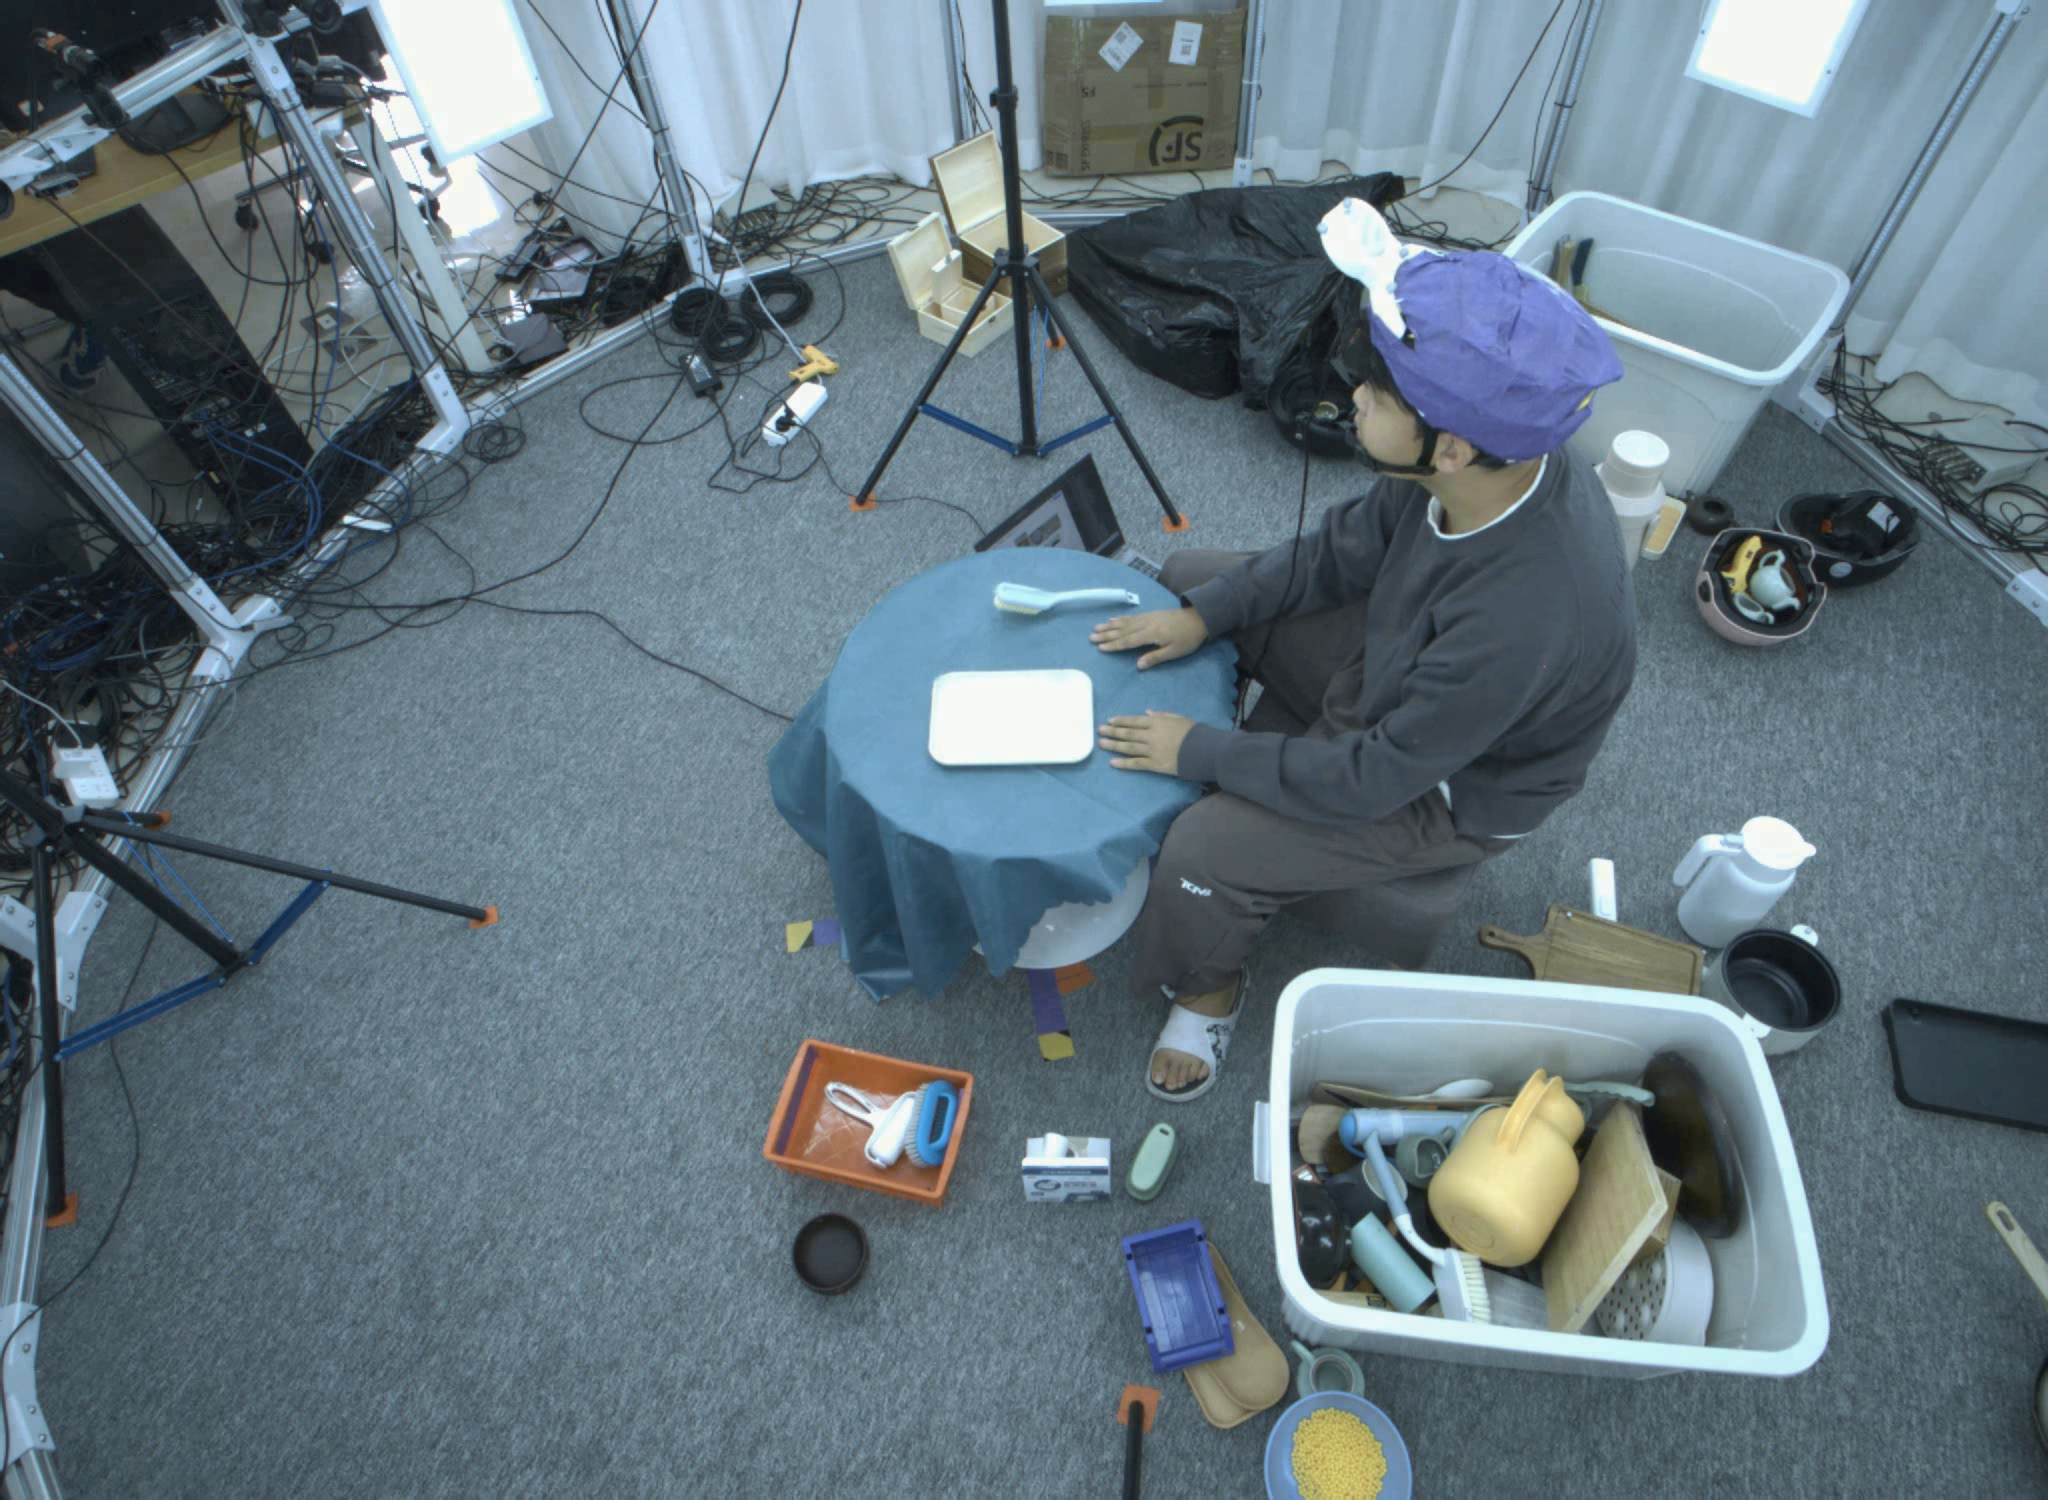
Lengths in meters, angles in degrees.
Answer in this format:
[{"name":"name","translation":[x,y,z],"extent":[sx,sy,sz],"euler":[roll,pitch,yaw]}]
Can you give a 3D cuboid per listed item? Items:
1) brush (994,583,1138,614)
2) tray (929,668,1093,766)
[{"name":"brush","translation":[0.067,-0.238,1.935],"extent":[0.230,0.050,0.037],"euler":[-2,61,-10]},{"name":"tray","translation":[-0.019,-0.048,1.811],"extent":[0.239,0.017,0.169],"euler":[-1,56,1]}]
